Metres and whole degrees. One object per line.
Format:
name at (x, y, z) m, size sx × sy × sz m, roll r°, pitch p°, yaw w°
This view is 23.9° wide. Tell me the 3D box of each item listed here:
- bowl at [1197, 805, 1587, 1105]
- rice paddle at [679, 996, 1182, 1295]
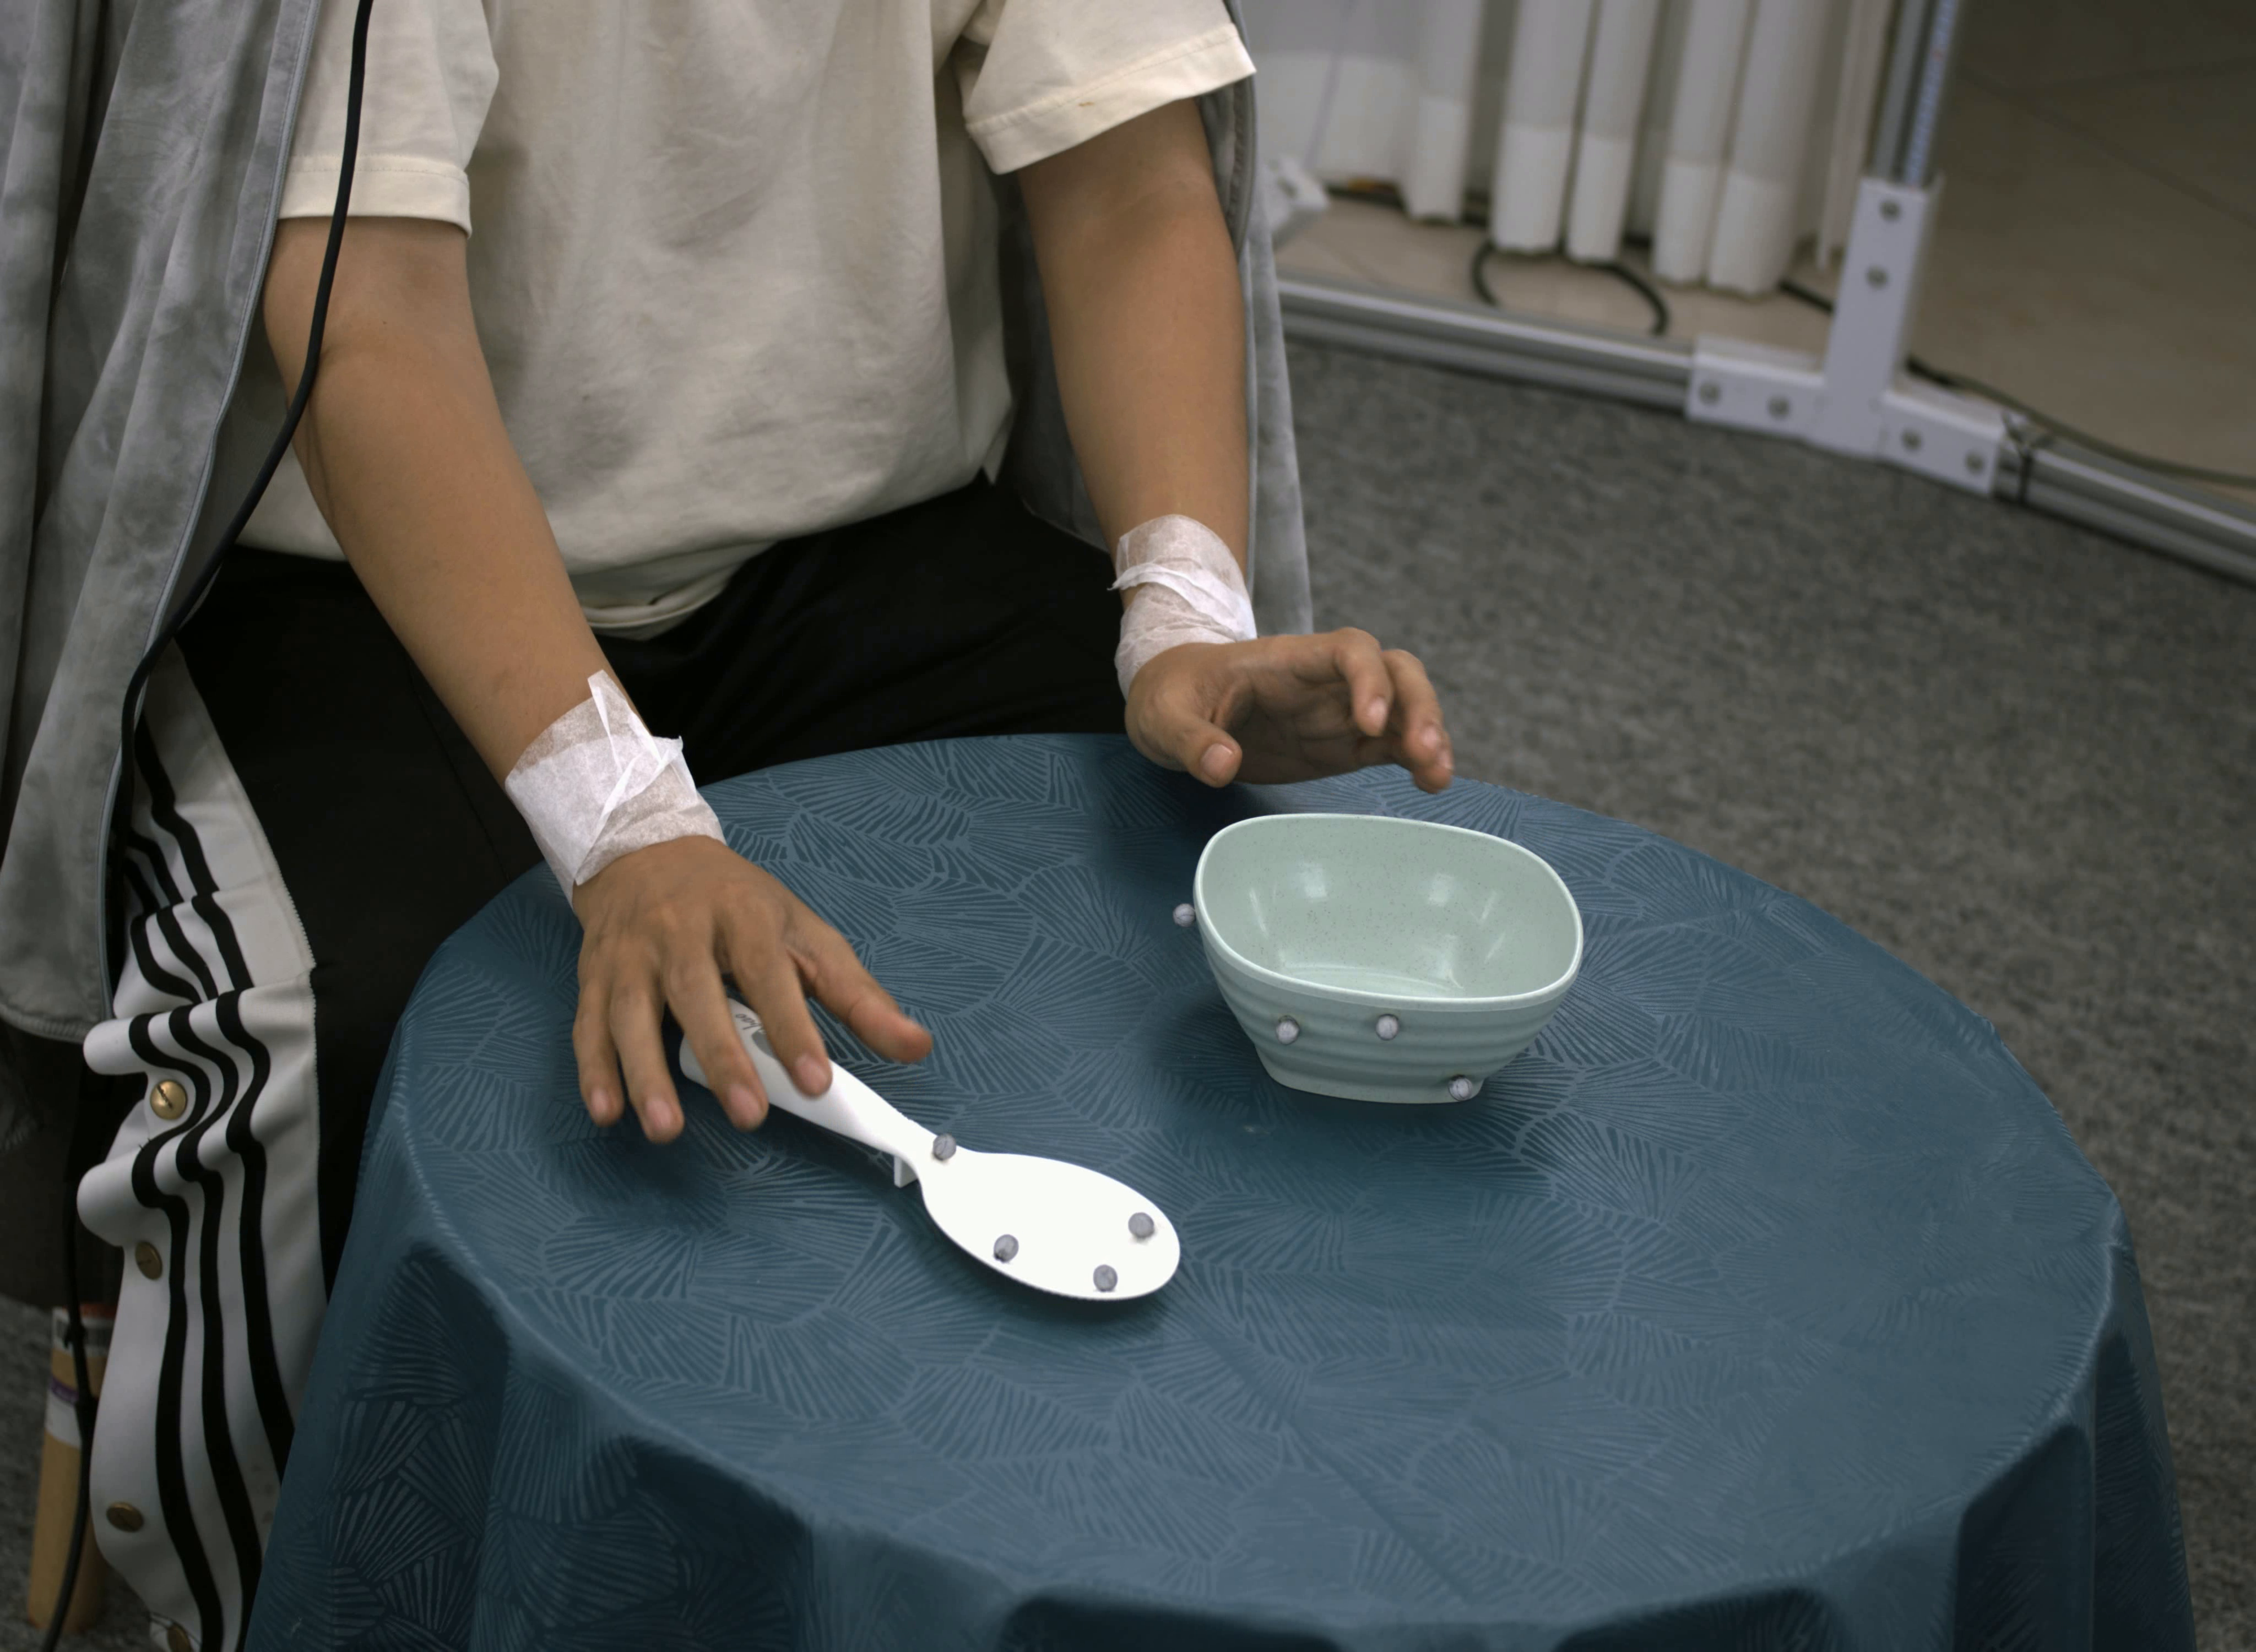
bowl at (0.092, 0.052, 1.900) m, size 0.151 × 0.058 × 0.152 m, roll 3°, pitch 30°, yaw -2°
rice paddle at (-0.067, 0.109, 1.785) m, size 0.206 × 0.029 × 0.068 m, roll 25°, pitch 34°, yaw 33°
